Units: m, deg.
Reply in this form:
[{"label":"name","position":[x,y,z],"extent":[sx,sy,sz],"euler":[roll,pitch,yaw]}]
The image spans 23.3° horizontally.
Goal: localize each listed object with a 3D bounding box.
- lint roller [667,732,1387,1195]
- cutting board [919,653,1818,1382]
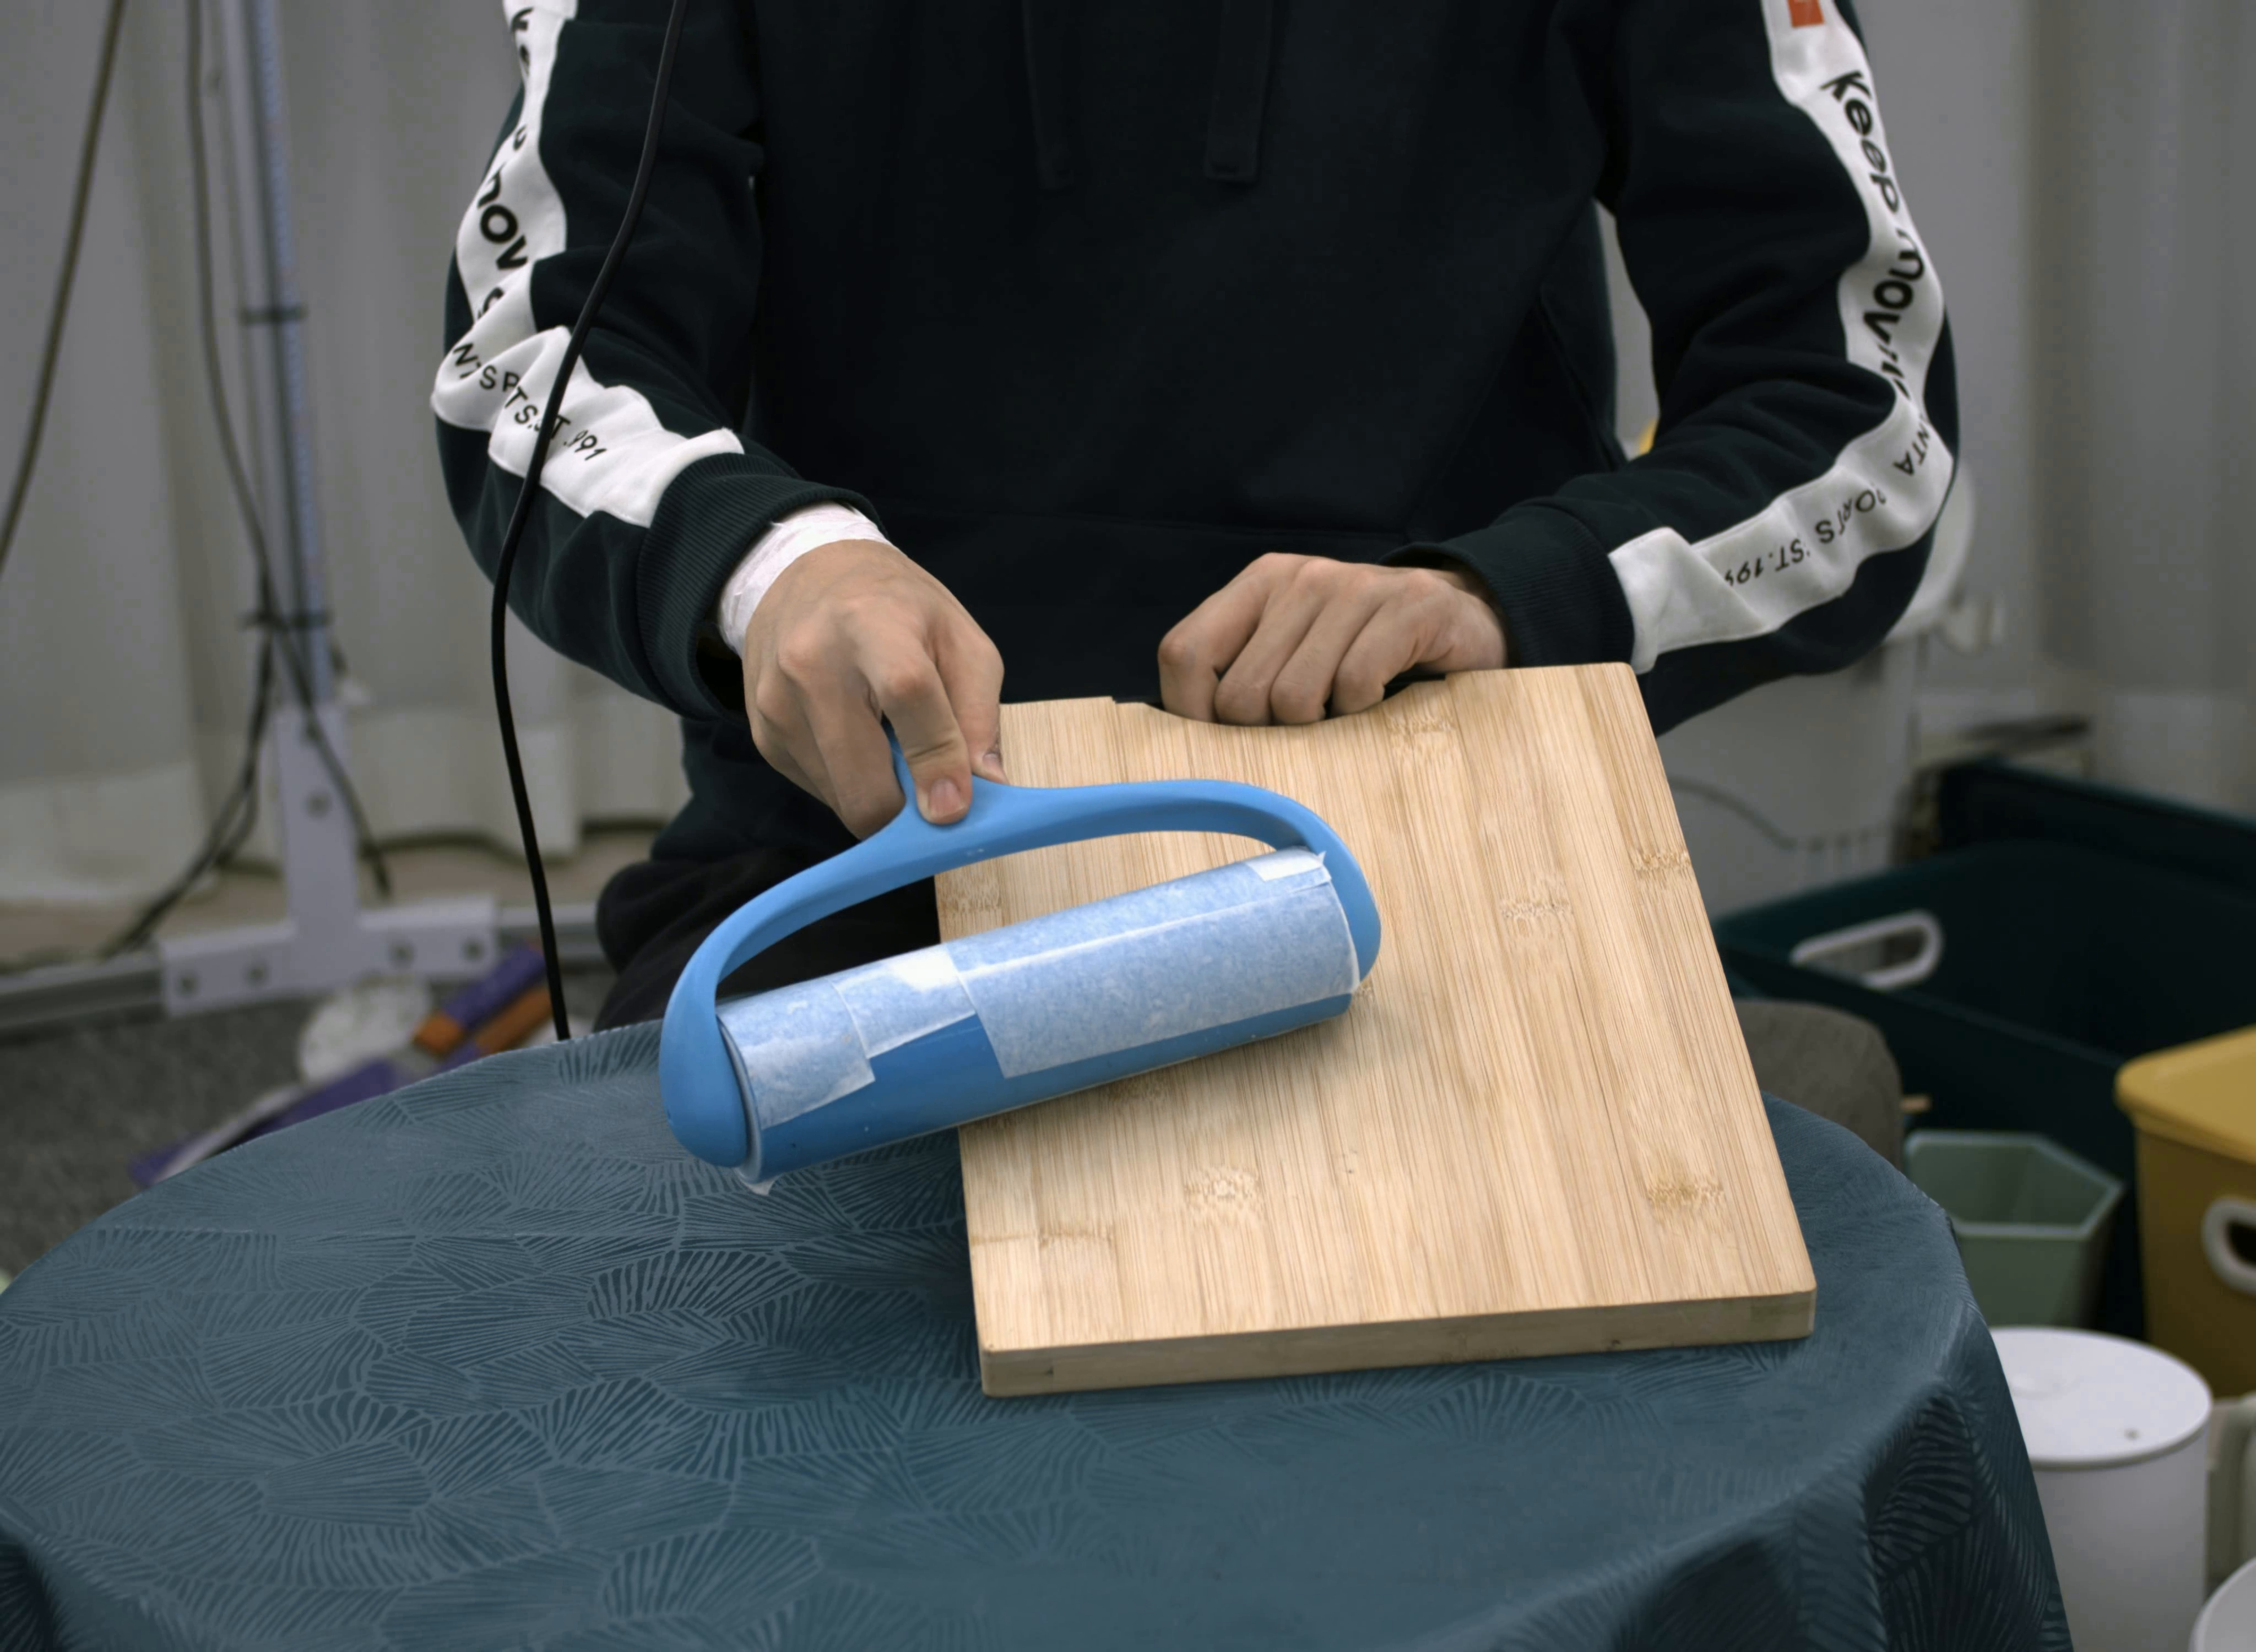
[{"label":"lint roller","position":[-0.054,0.018,1.663],"extent":[0.228,0.067,0.183],"euler":[-18,49,-20]},{"label":"cutting board","position":[0.063,0.053,1.694],"extent":[0.250,0.023,0.353],"euler":[-5,33,-4]}]
